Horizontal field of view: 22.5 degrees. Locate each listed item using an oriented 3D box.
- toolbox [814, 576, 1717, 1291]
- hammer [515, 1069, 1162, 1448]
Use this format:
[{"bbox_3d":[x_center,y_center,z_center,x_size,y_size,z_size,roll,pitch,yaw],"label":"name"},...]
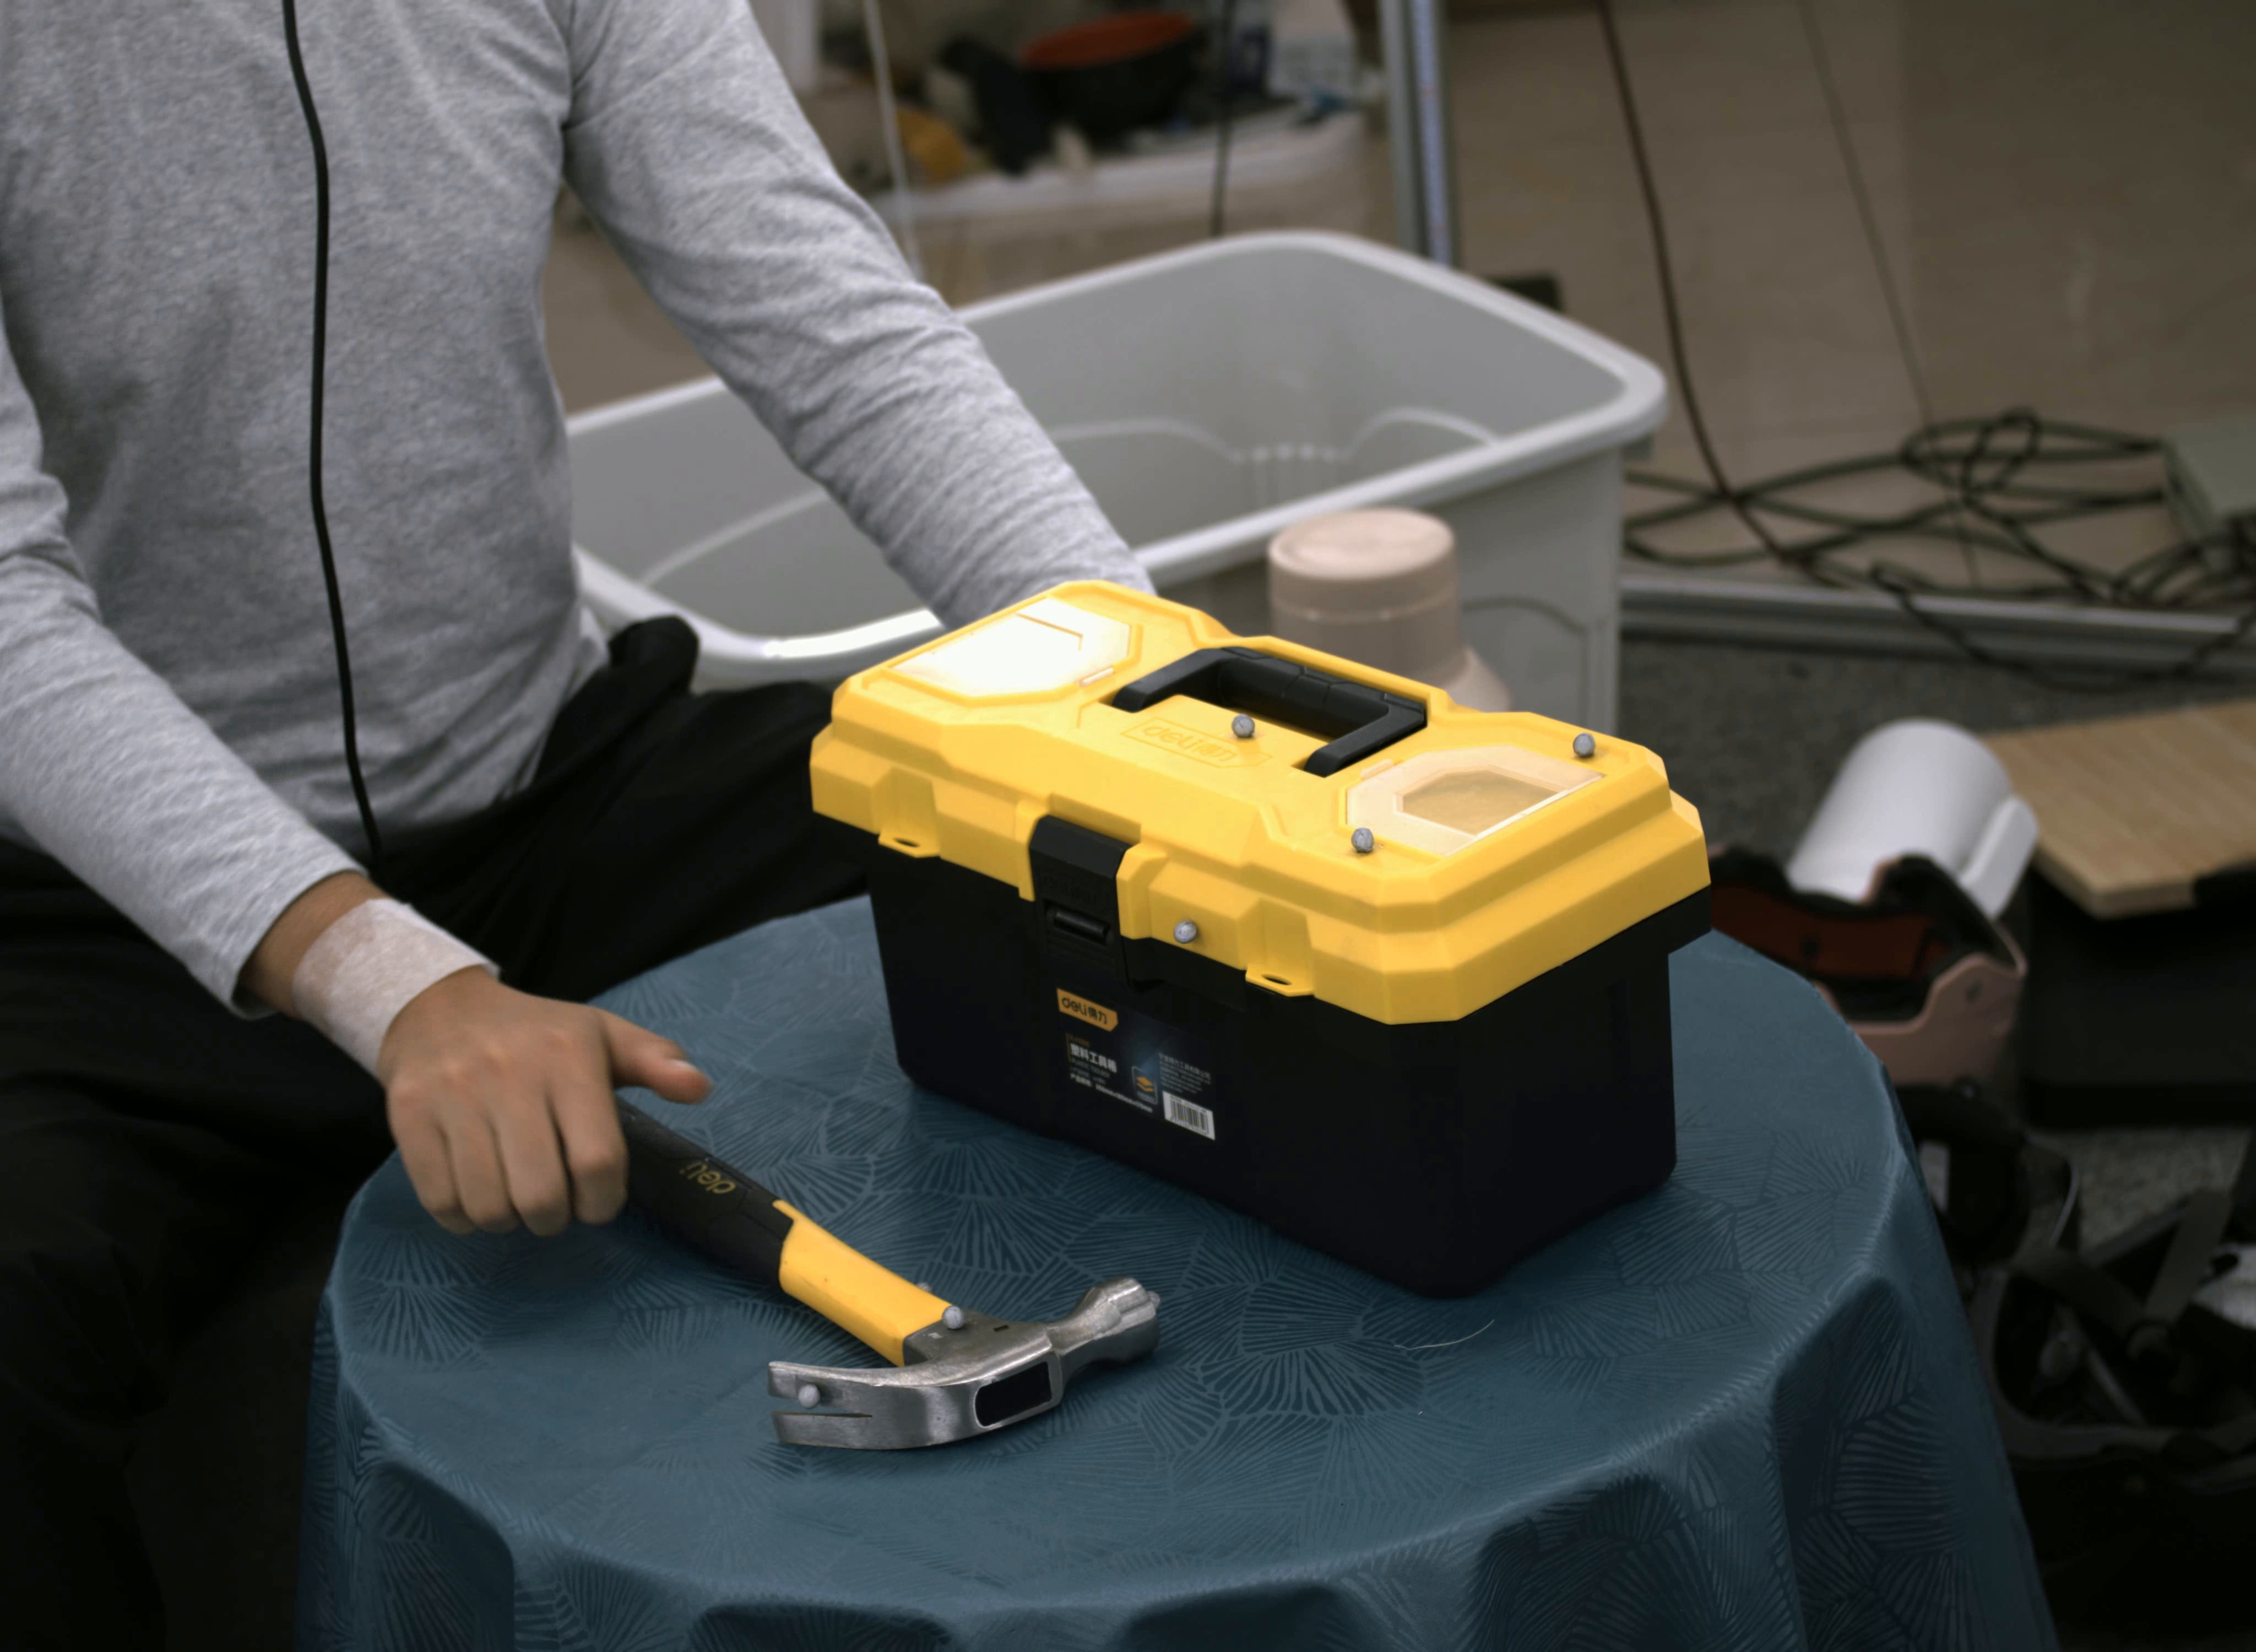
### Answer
[{"bbox_3d":[0.049,0.036,2.148,0.180,0.175,0.348,-26,31,-35],"label":"toolbox"},{"bbox_3d":[-0.135,0.153,2.121,0.130,0.033,0.335,-23,28,-28],"label":"hammer"}]
